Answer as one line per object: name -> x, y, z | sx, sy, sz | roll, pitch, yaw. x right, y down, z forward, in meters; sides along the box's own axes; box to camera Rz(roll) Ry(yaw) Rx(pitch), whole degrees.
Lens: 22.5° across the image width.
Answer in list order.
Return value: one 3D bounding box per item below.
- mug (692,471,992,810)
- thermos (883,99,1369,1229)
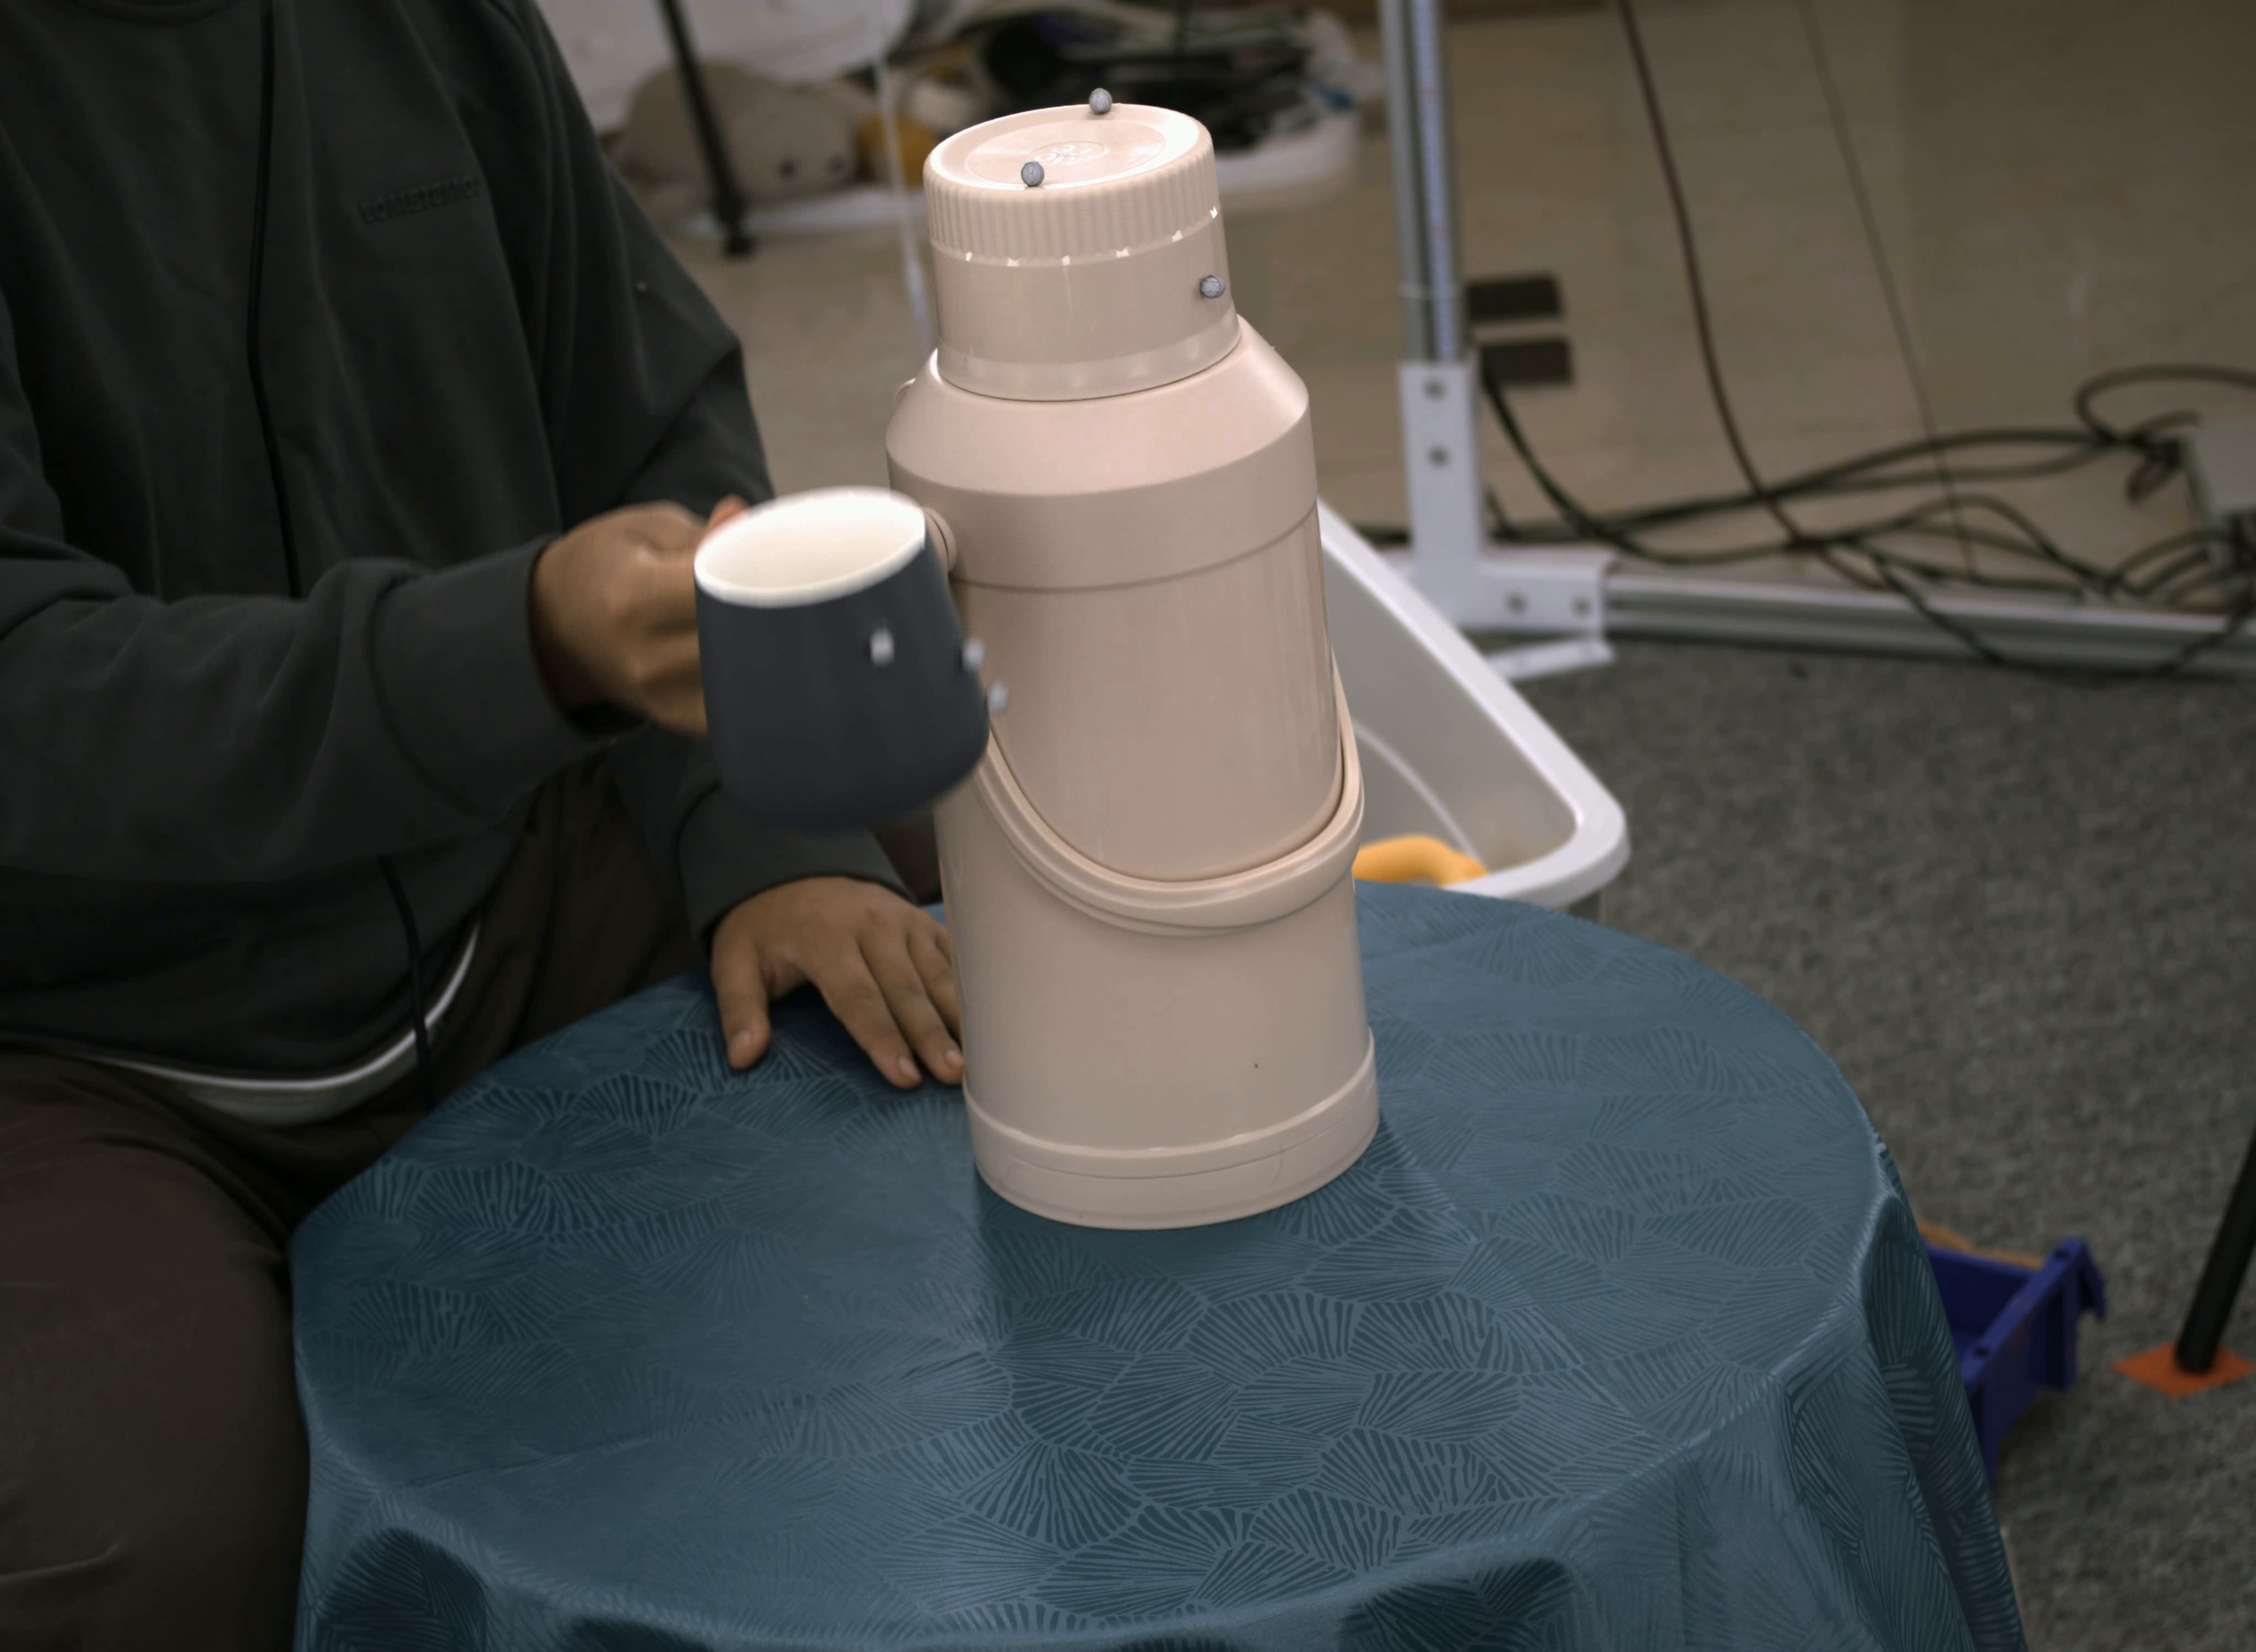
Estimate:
mug -> -0.104, -0.066, 1.895 | 0.093, 0.091, 0.122 | -23, 29, -19
thermos -> -0.011, -0.065, 2.113 | 0.174, 0.413, 0.205 | -24, 31, -32
